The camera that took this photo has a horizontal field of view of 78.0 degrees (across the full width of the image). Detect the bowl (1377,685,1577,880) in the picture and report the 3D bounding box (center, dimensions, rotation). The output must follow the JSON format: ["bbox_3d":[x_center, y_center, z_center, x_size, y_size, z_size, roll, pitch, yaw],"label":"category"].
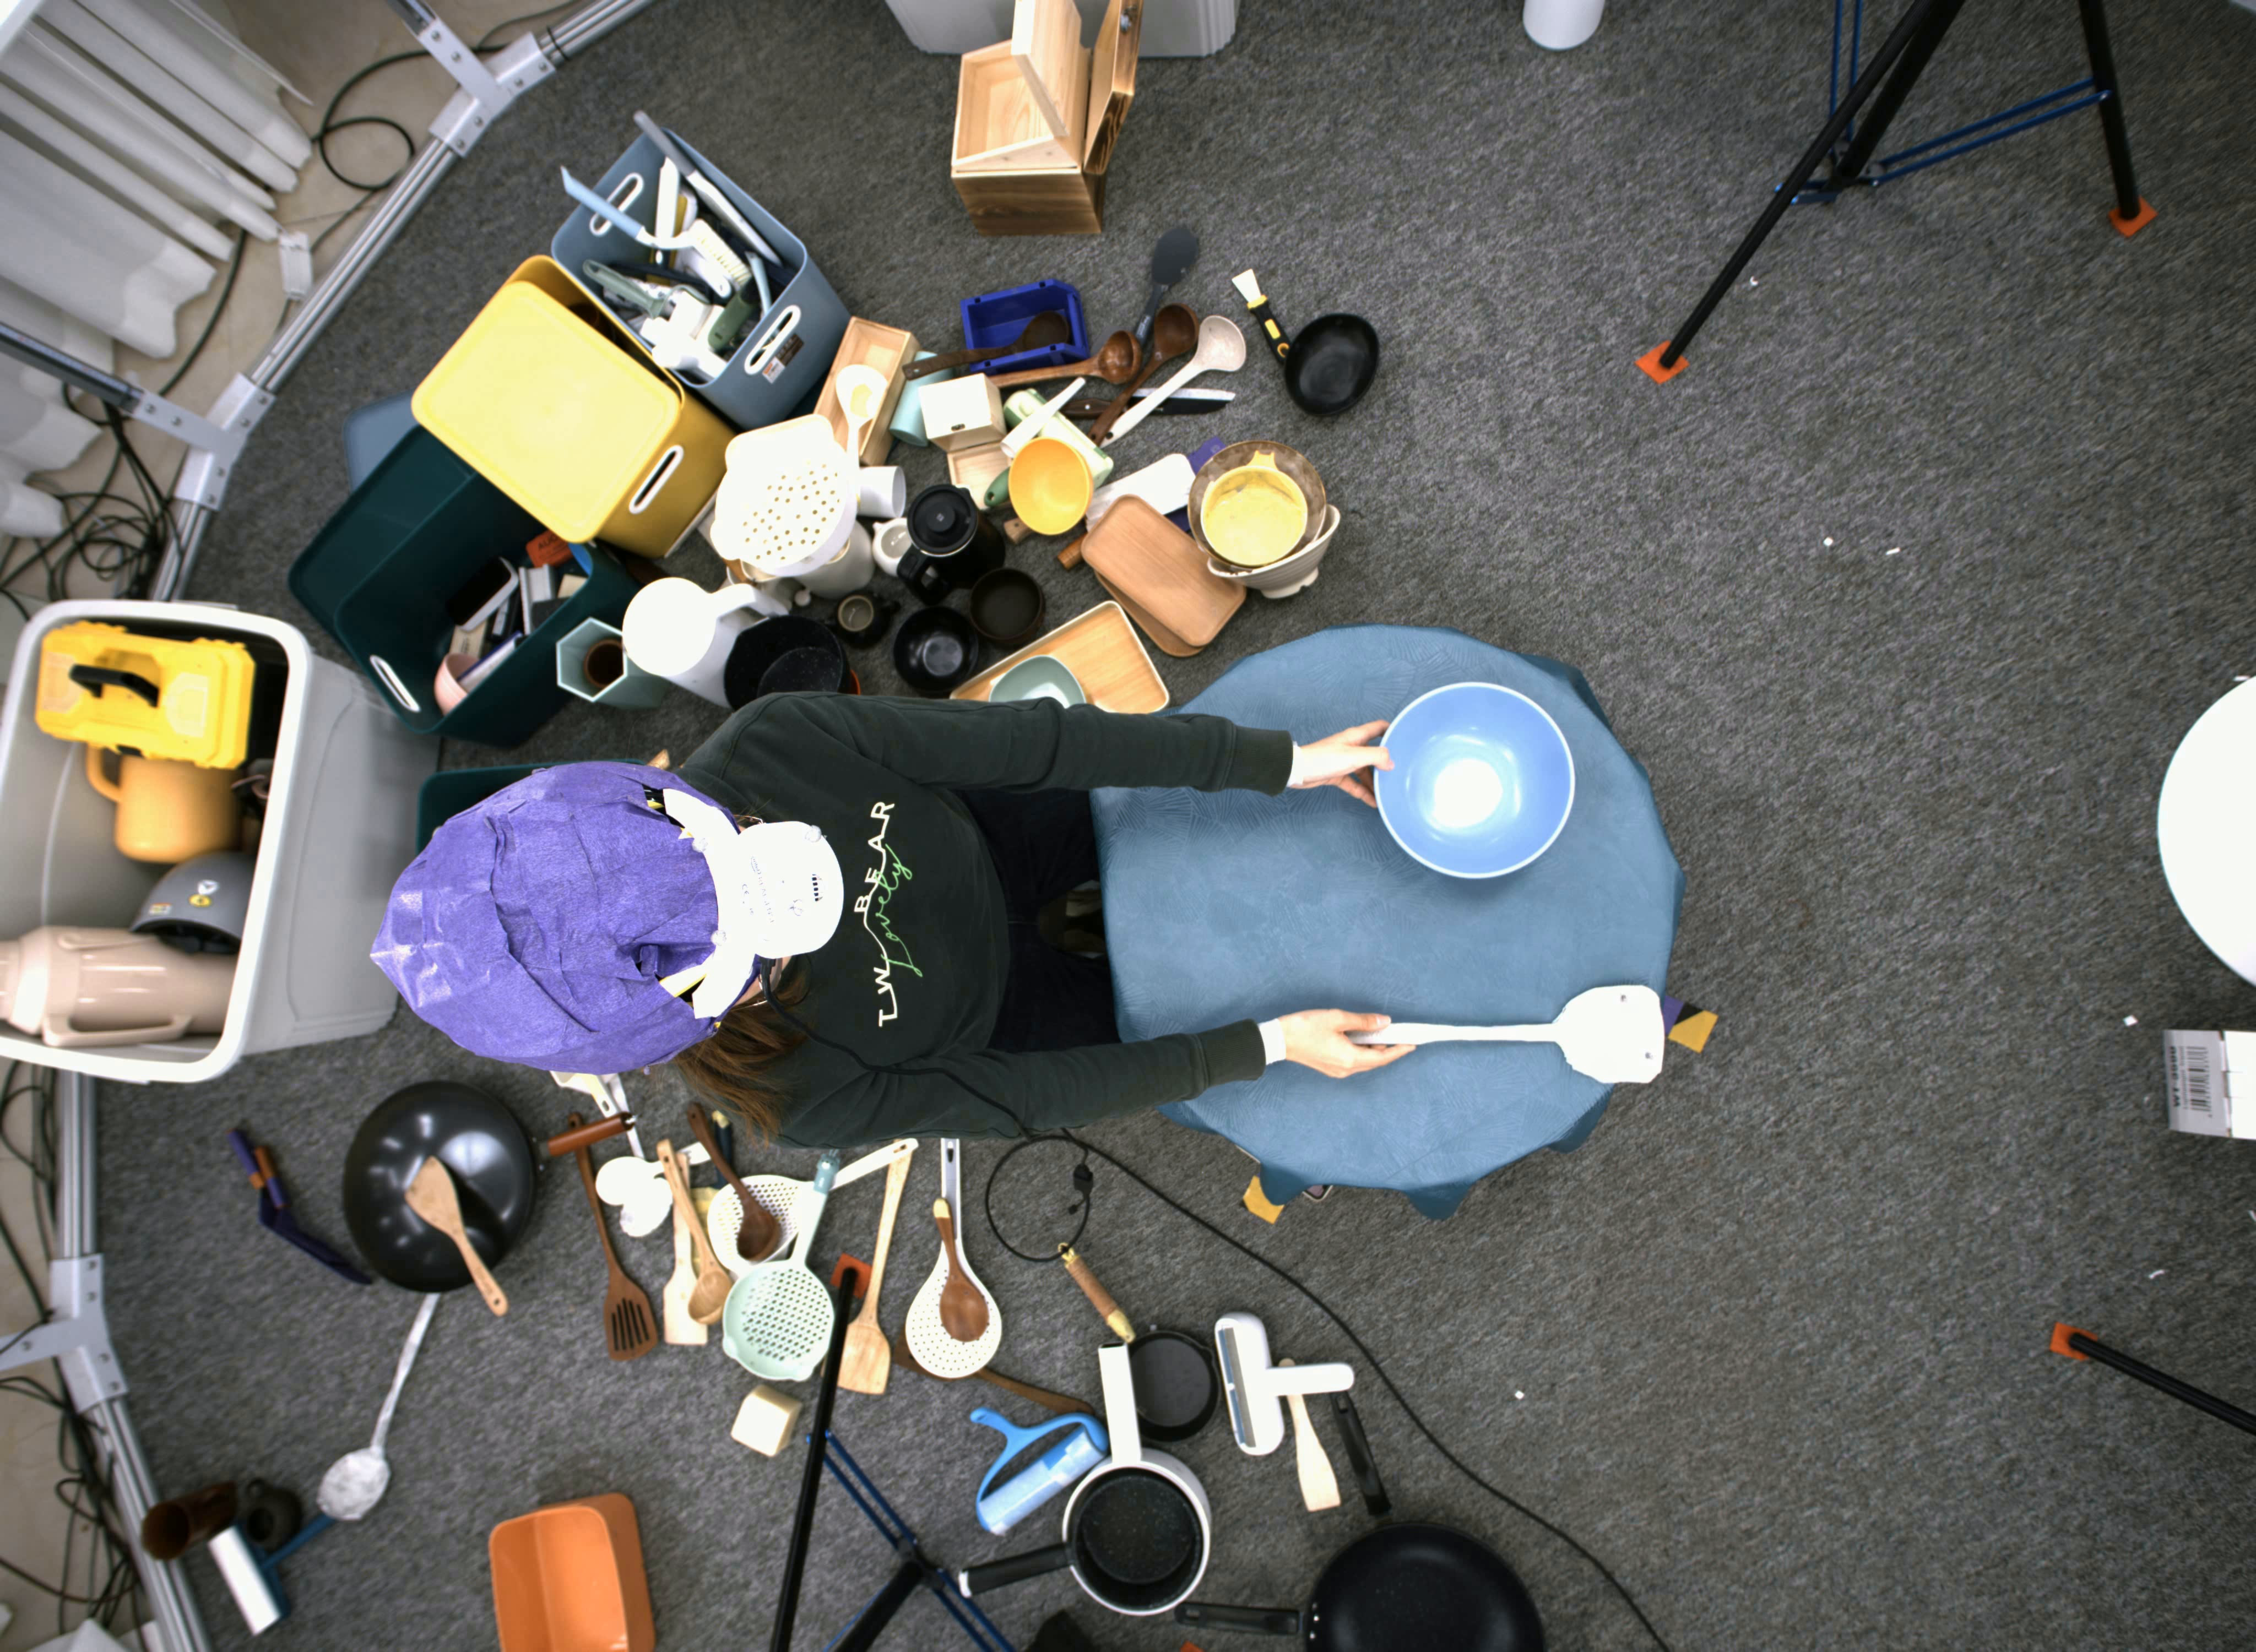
[{"bbox_3d":[0.350,-0.041,1.407,0.197,0.095,0.195,-1,86,6],"label":"bowl"}]

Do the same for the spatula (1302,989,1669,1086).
[{"bbox_3d":[0.361,0.209,1.407,0.366,0.045,0.098,1,89,4],"label":"spatula"}]
